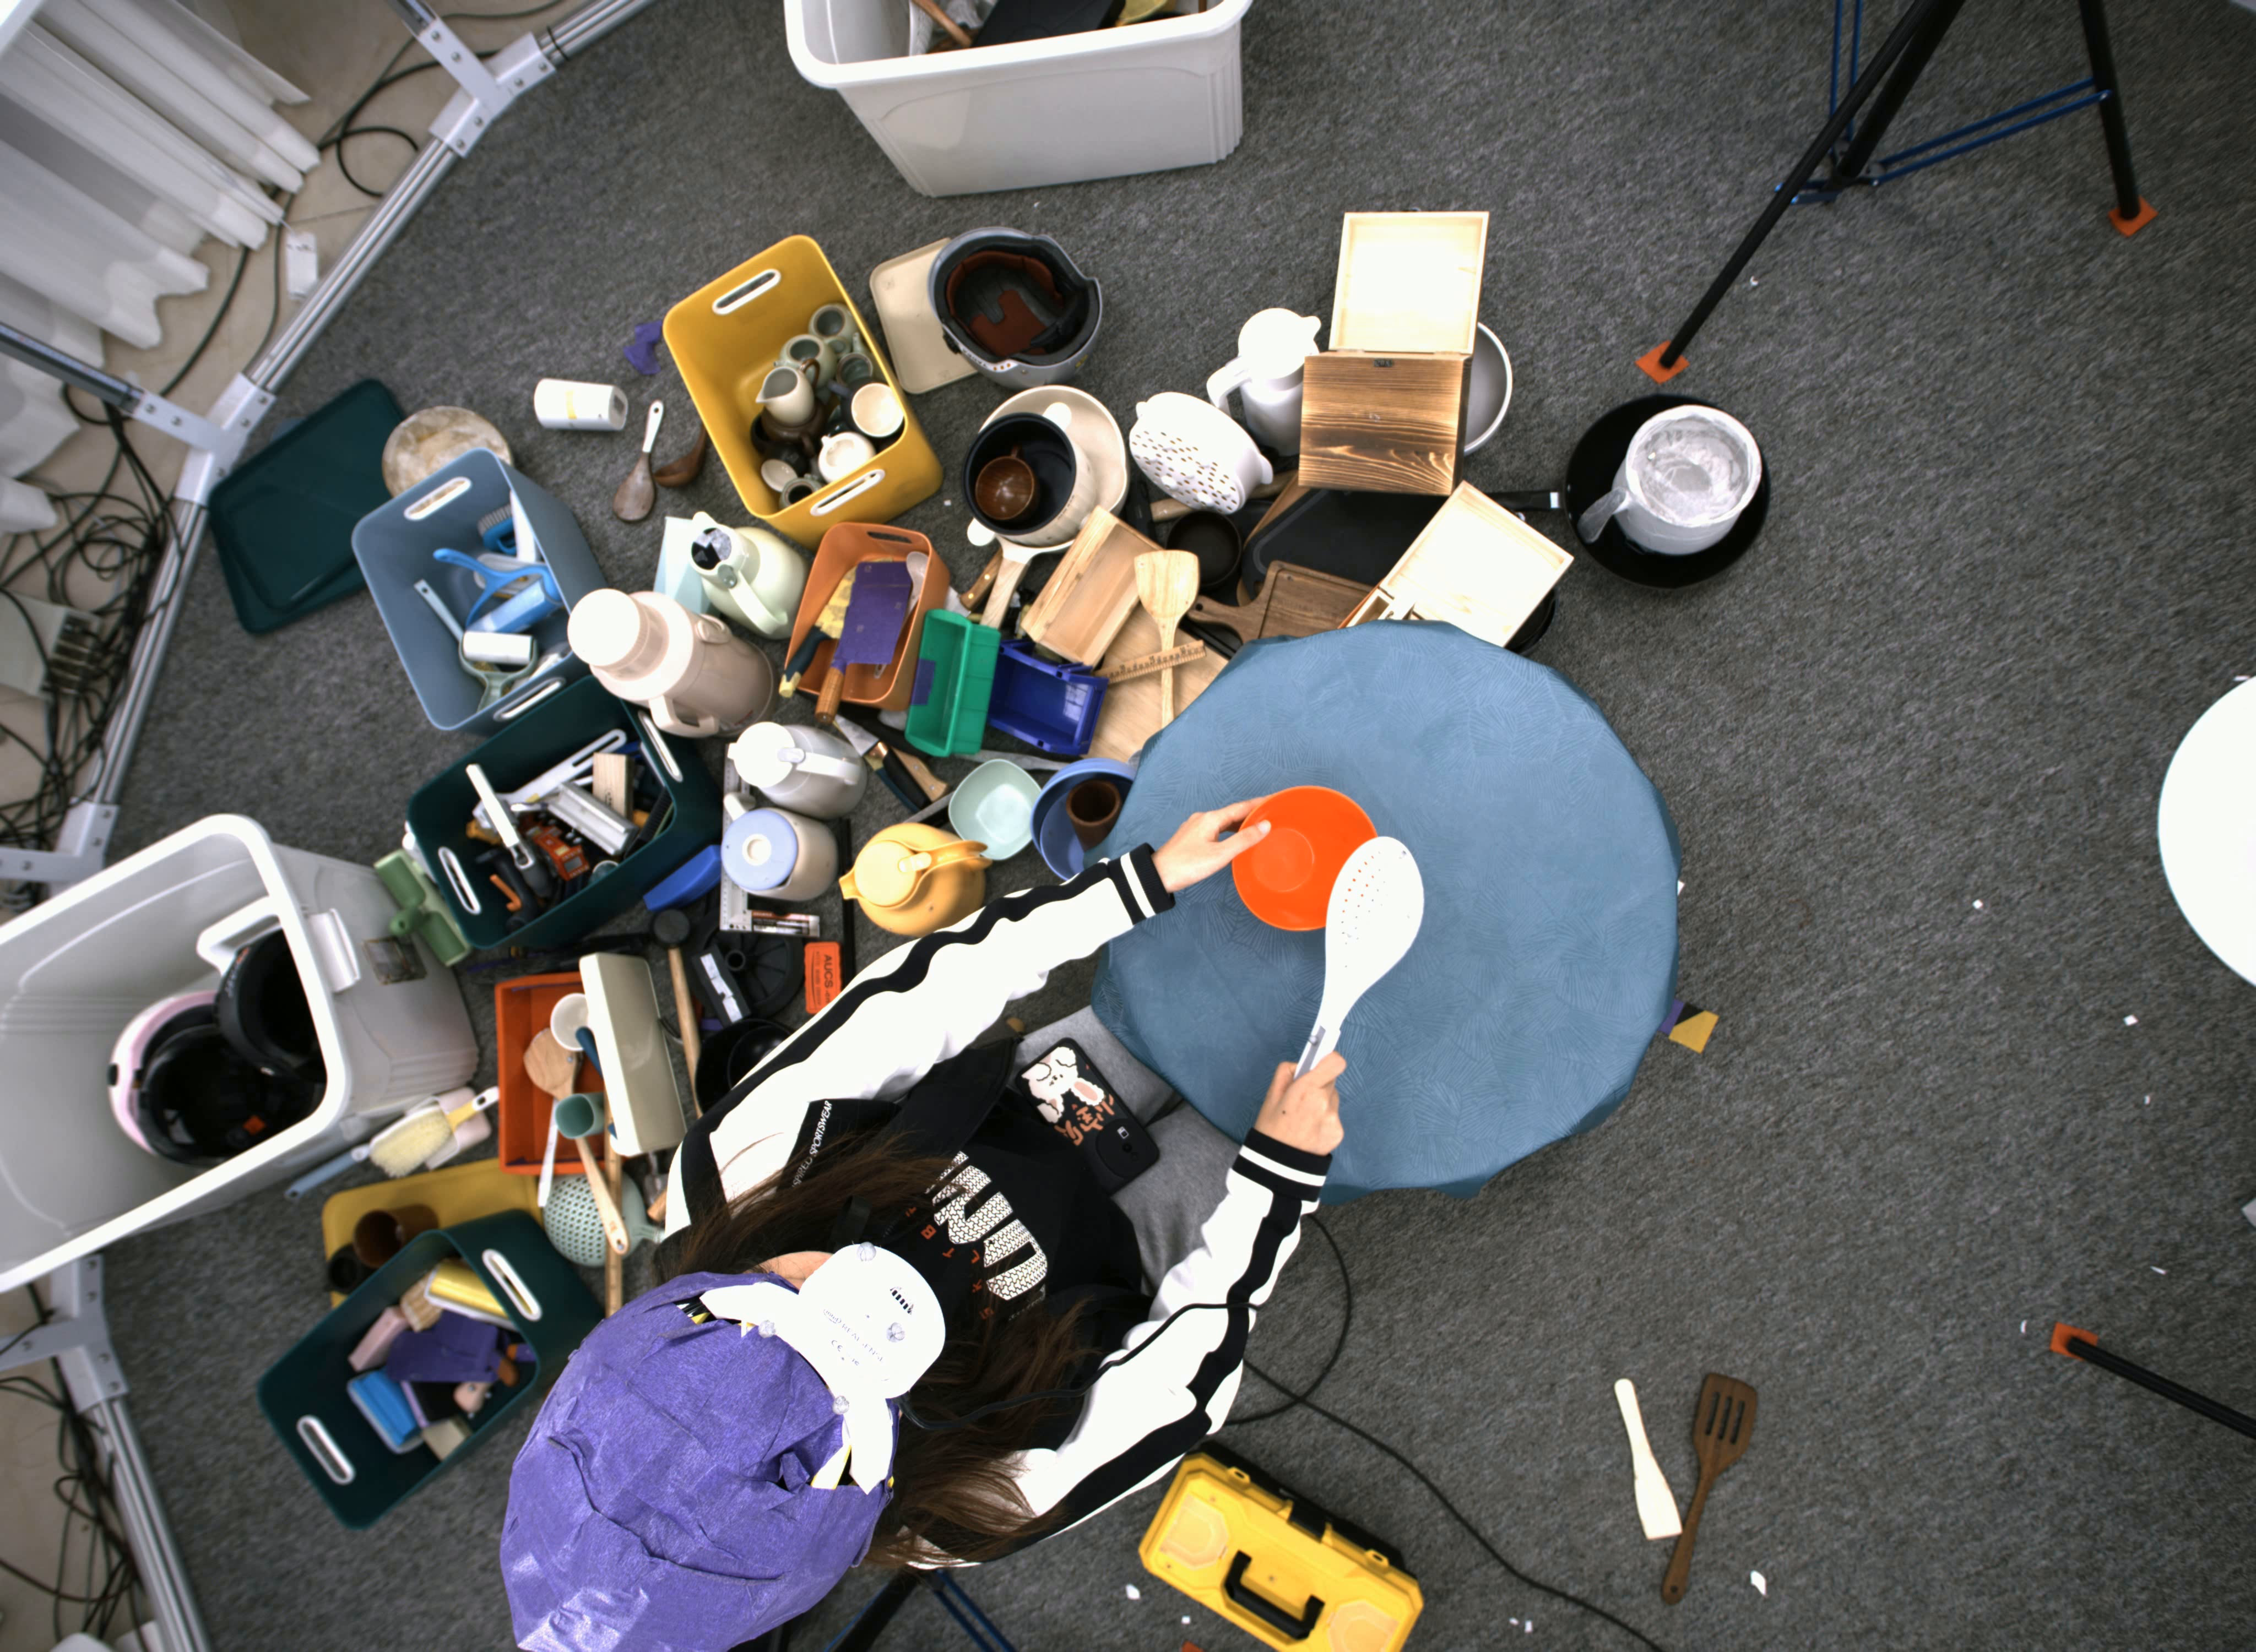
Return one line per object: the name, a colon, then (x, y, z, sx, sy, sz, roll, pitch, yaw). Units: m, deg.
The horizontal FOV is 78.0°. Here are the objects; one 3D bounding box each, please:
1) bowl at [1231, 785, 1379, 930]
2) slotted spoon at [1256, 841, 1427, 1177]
bowl: (0.171, 0.028, 1.403, 0.148, 0.104, 0.149, -1, 98, -6)
slotted spoon: (0.198, 0.179, 1.321, 0.046, 0.134, 0.353, 20, 103, -26)
